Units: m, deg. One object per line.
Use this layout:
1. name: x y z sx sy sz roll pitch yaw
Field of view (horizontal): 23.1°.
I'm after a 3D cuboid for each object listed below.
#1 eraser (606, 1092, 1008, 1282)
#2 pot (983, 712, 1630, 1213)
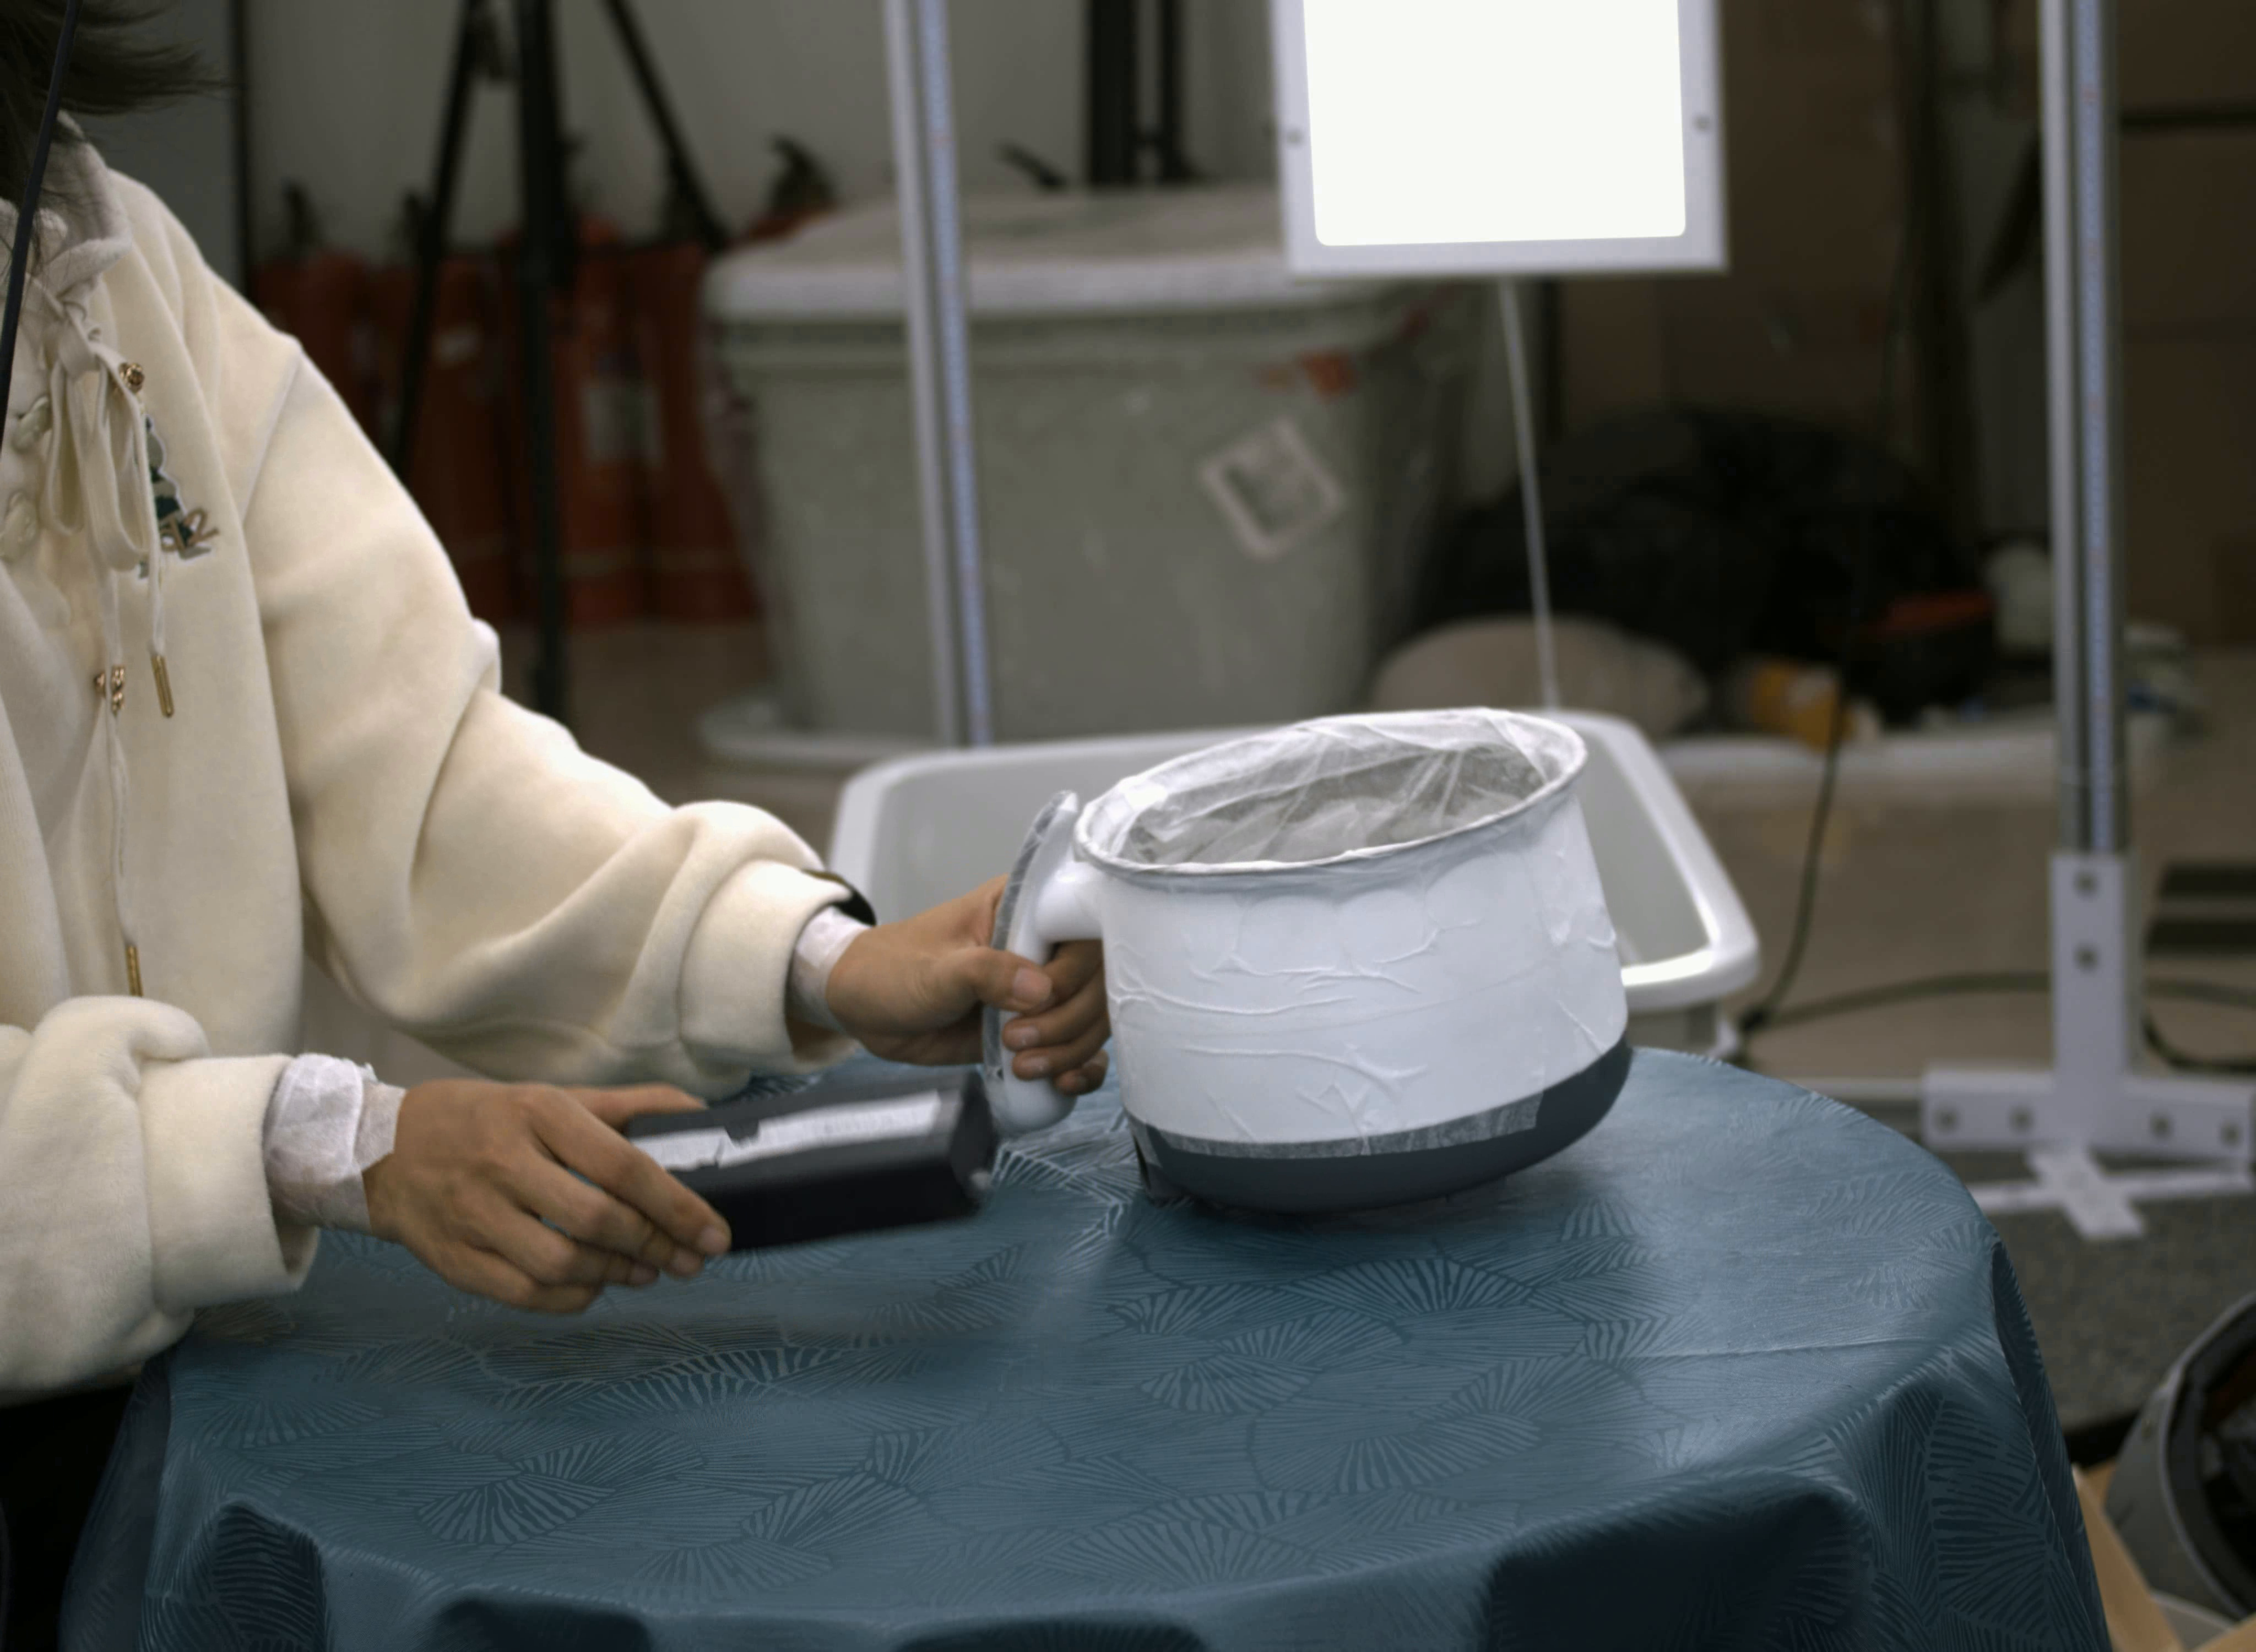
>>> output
1. eraser: -0.102 0.115 1.770 0.127 0.030 0.053 -8 32 20
2. pot: 0.055 0.048 1.891 0.237 0.137 0.175 -2 16 23
